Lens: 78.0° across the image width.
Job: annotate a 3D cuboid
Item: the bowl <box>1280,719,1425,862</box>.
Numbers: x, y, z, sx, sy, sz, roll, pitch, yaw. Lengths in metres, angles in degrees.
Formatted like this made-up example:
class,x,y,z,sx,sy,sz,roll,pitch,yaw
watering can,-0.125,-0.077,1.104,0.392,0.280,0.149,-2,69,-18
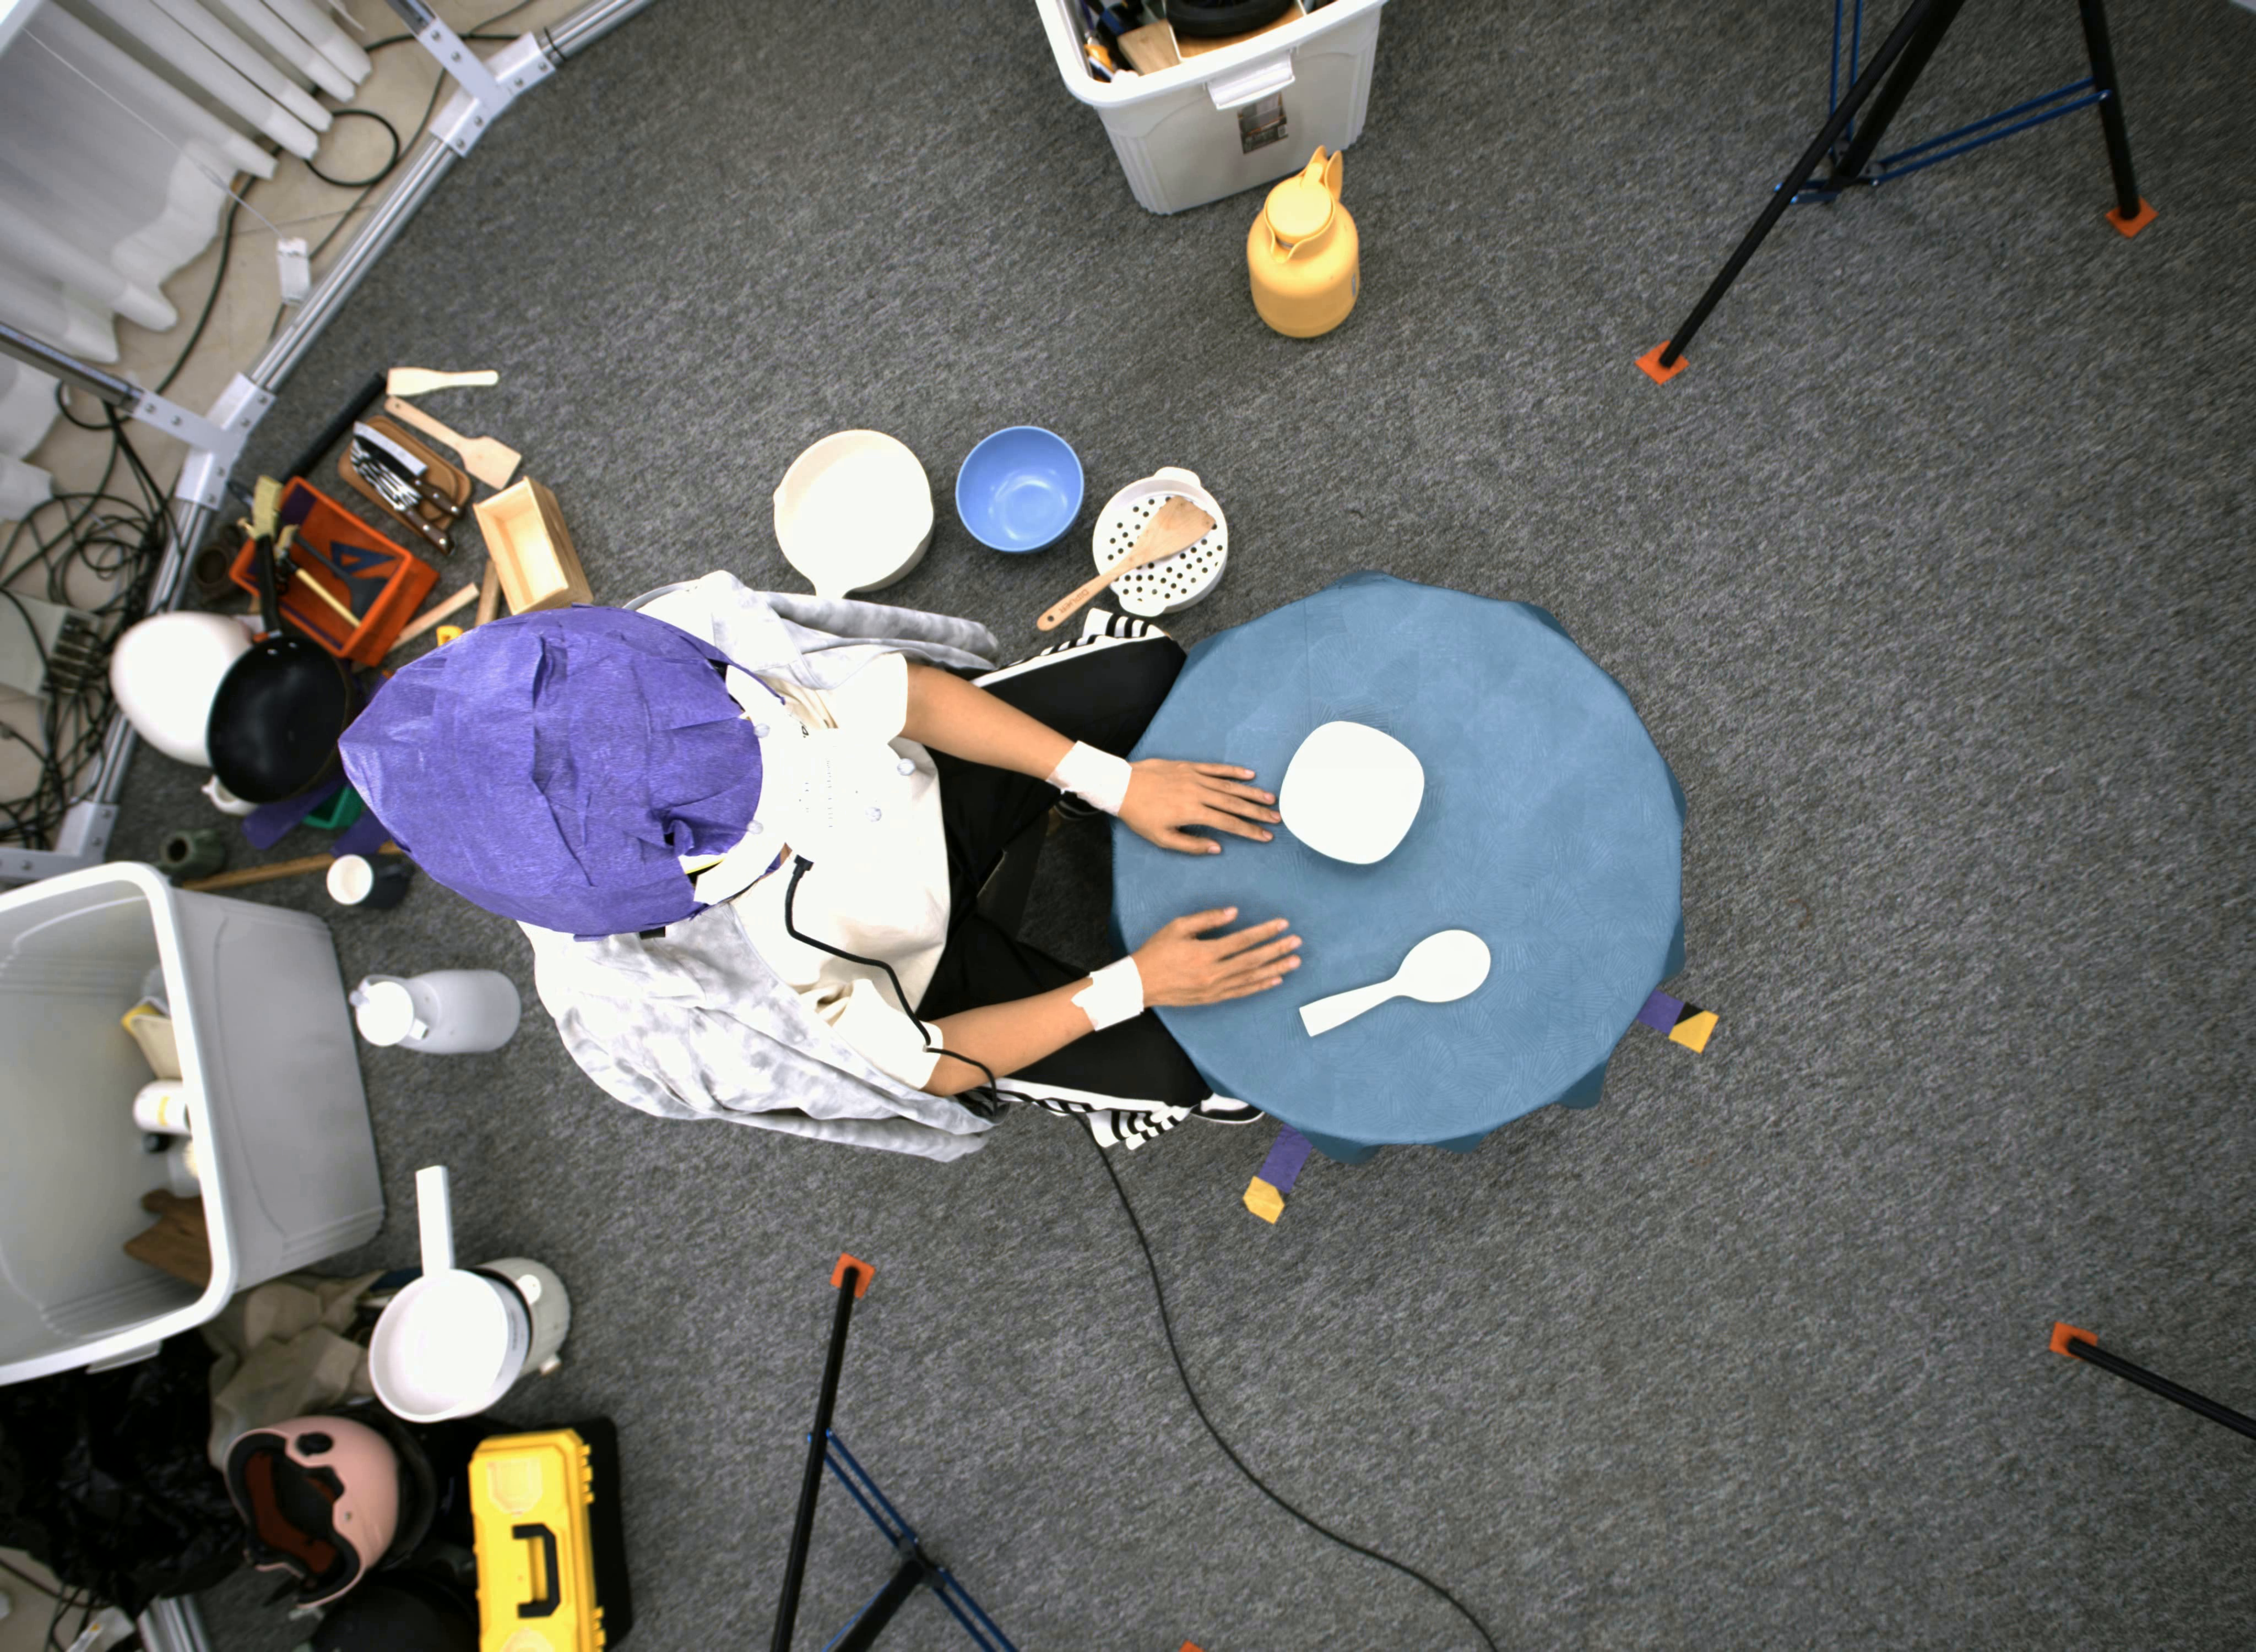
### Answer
class,x,y,z,sx,sy,sz,roll,pitch,yaw
bowl,0.234,-0.036,1.440,0.152,0.058,0.151,0,90,9

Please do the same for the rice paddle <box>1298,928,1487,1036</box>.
class,x,y,z,sx,sy,sz,roll,pitch,yaw
rice paddle,0.276,0.163,1.436,0.206,0.029,0.068,-24,84,9
